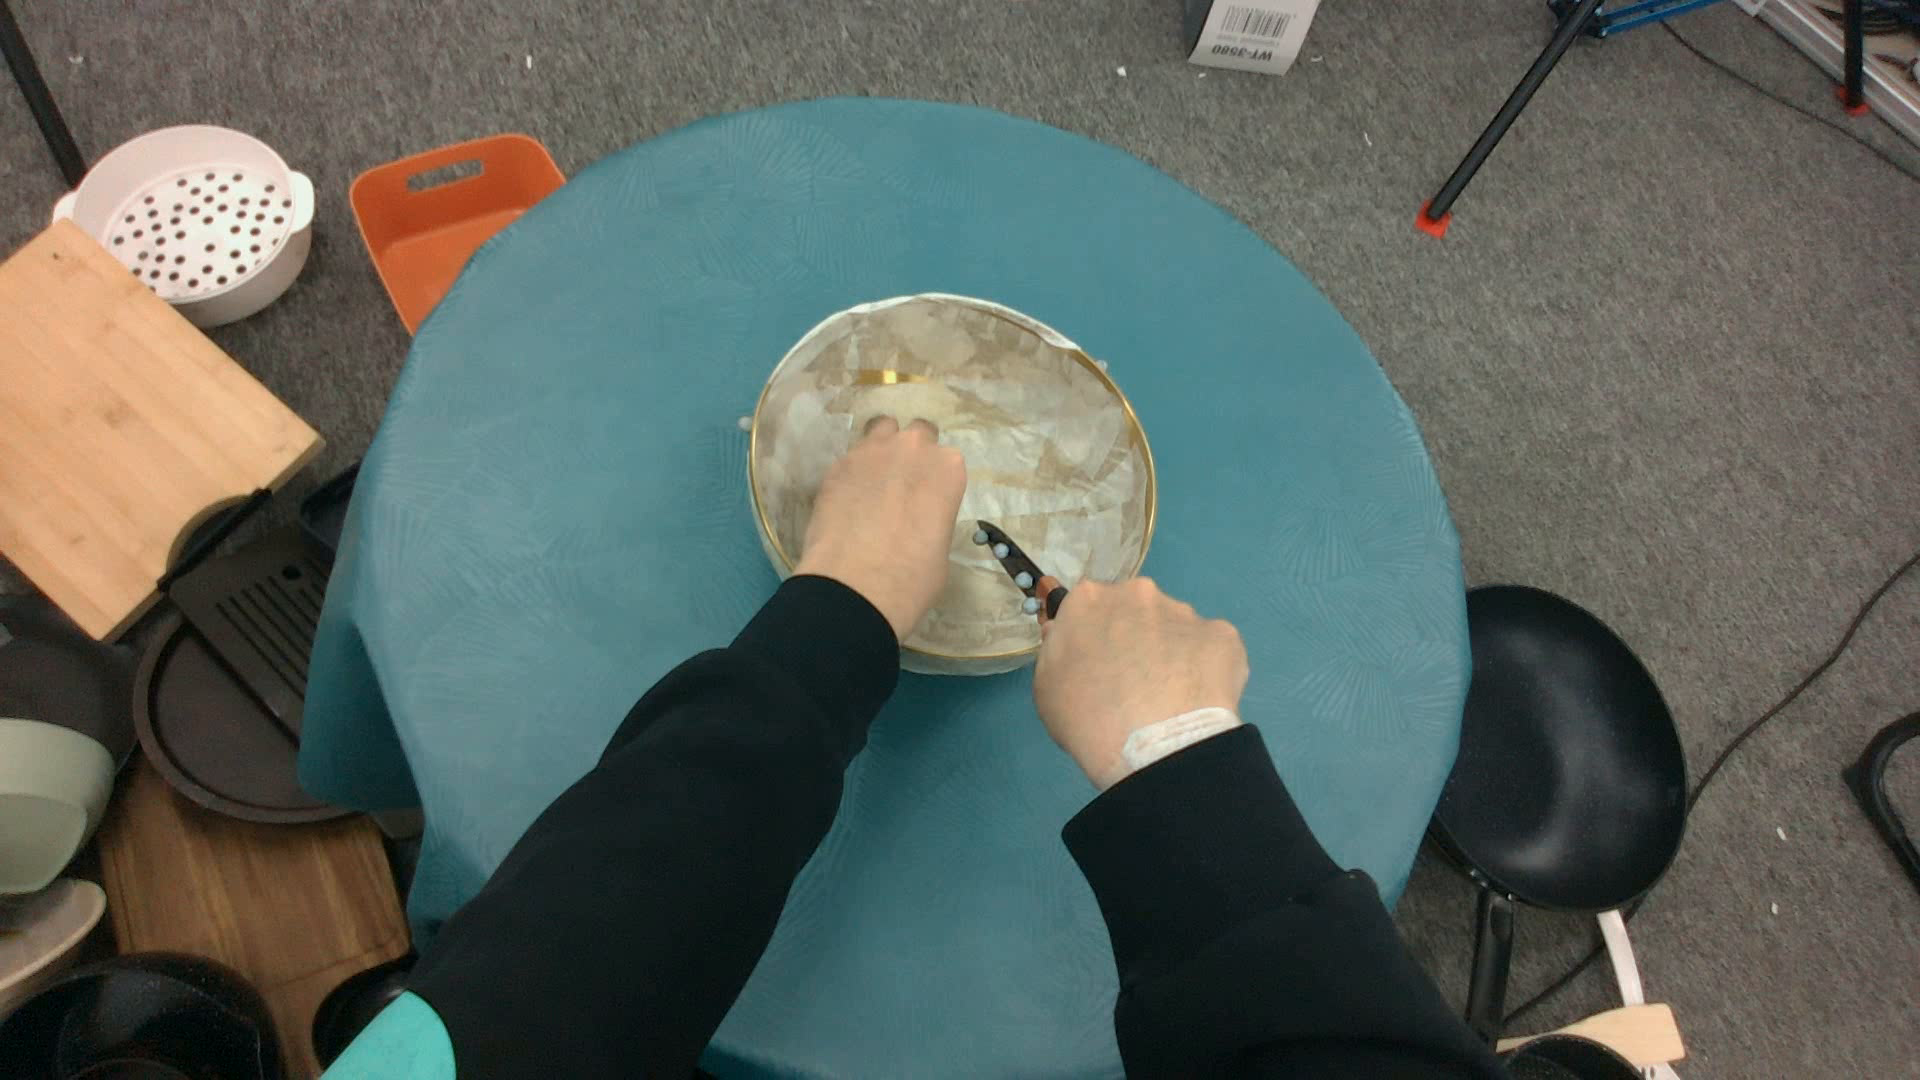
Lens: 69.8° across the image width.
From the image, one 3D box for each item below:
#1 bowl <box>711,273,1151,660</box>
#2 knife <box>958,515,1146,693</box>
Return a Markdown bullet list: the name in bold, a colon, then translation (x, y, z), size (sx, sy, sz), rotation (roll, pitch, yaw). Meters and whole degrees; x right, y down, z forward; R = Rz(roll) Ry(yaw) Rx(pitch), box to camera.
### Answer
- **bowl**: translation (-0.018, -0.023, 0.690), size (0.215, 0.094, 0.215), rotation (6, 62, -12)
- **knife**: translation (0.034, 0.019, 0.648), size (0.017, 0.026, 0.226), rotation (-11, 22, -15)
